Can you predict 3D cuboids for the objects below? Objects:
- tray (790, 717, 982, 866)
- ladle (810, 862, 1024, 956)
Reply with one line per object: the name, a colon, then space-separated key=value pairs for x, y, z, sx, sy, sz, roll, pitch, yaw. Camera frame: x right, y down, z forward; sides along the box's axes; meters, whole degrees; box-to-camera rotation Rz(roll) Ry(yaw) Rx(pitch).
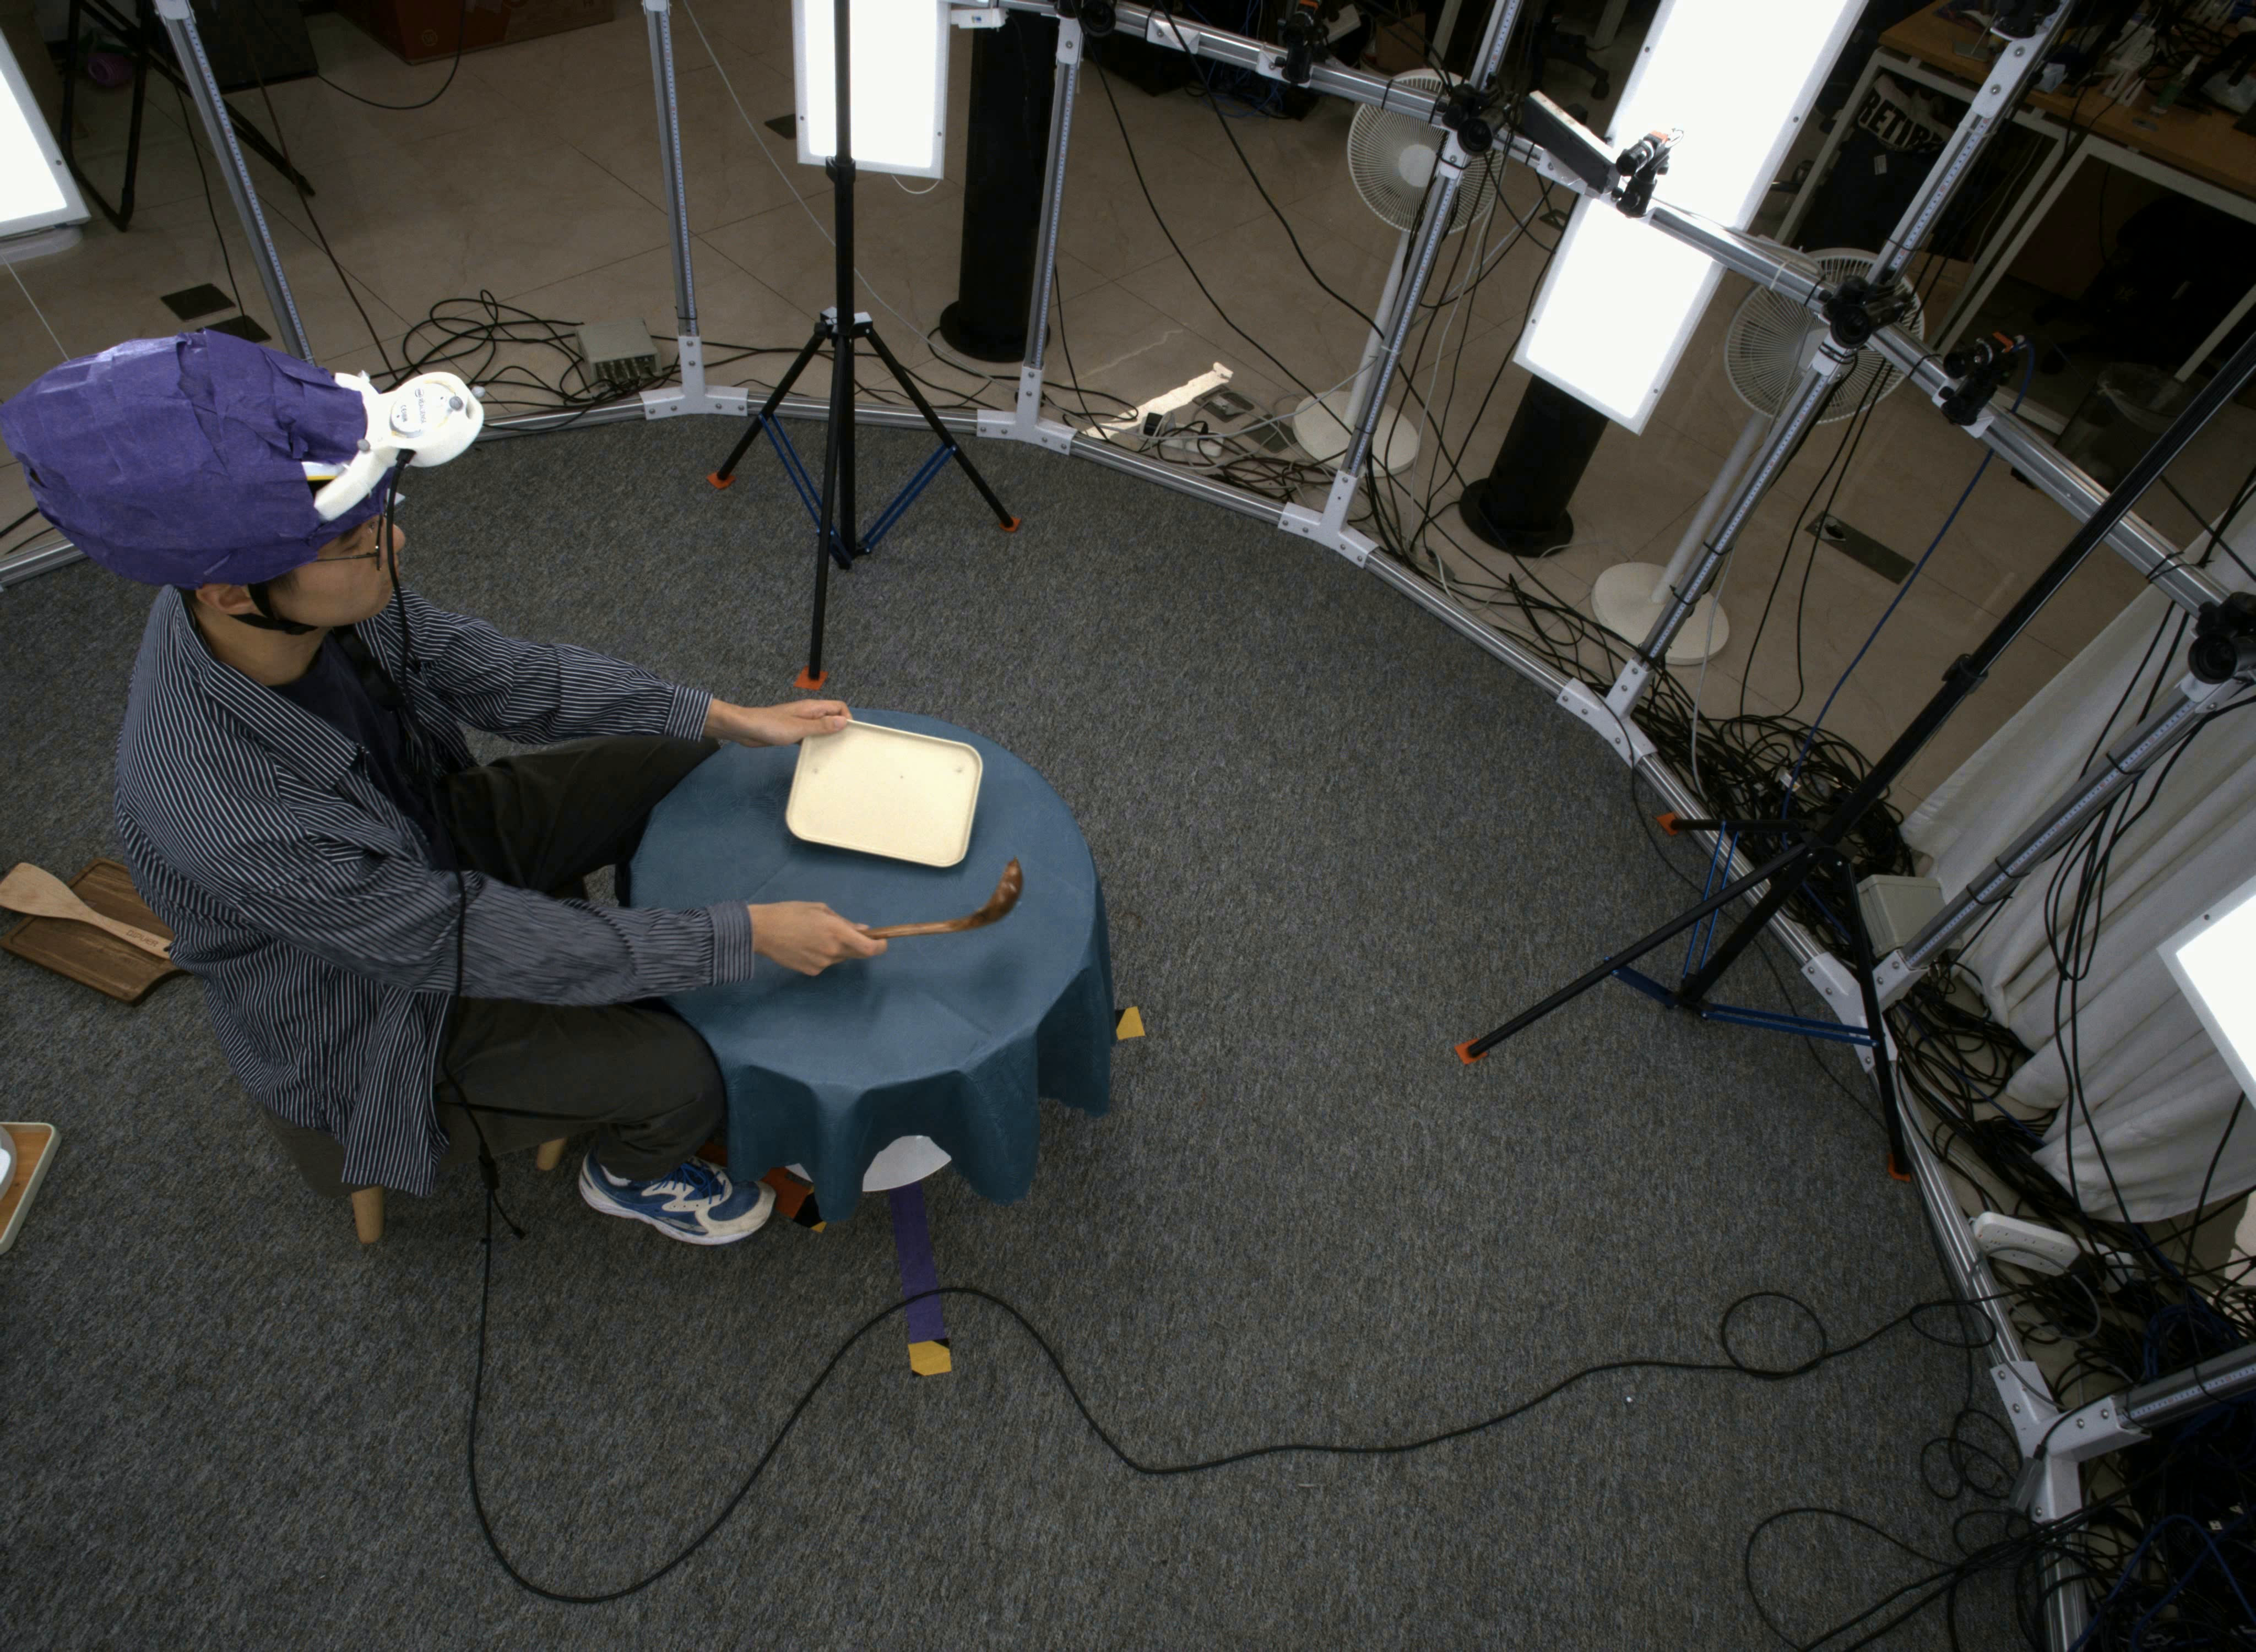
tray: x=-0.320 y=-0.045 z=1.729 sx=0.240 sy=0.017 sz=0.172 roll=11 pitch=81 yaw=-11
ladle: x=-0.261 y=0.100 z=1.597 sx=0.272 sy=0.081 sz=0.077 roll=-8 pitch=90 yaw=-5
